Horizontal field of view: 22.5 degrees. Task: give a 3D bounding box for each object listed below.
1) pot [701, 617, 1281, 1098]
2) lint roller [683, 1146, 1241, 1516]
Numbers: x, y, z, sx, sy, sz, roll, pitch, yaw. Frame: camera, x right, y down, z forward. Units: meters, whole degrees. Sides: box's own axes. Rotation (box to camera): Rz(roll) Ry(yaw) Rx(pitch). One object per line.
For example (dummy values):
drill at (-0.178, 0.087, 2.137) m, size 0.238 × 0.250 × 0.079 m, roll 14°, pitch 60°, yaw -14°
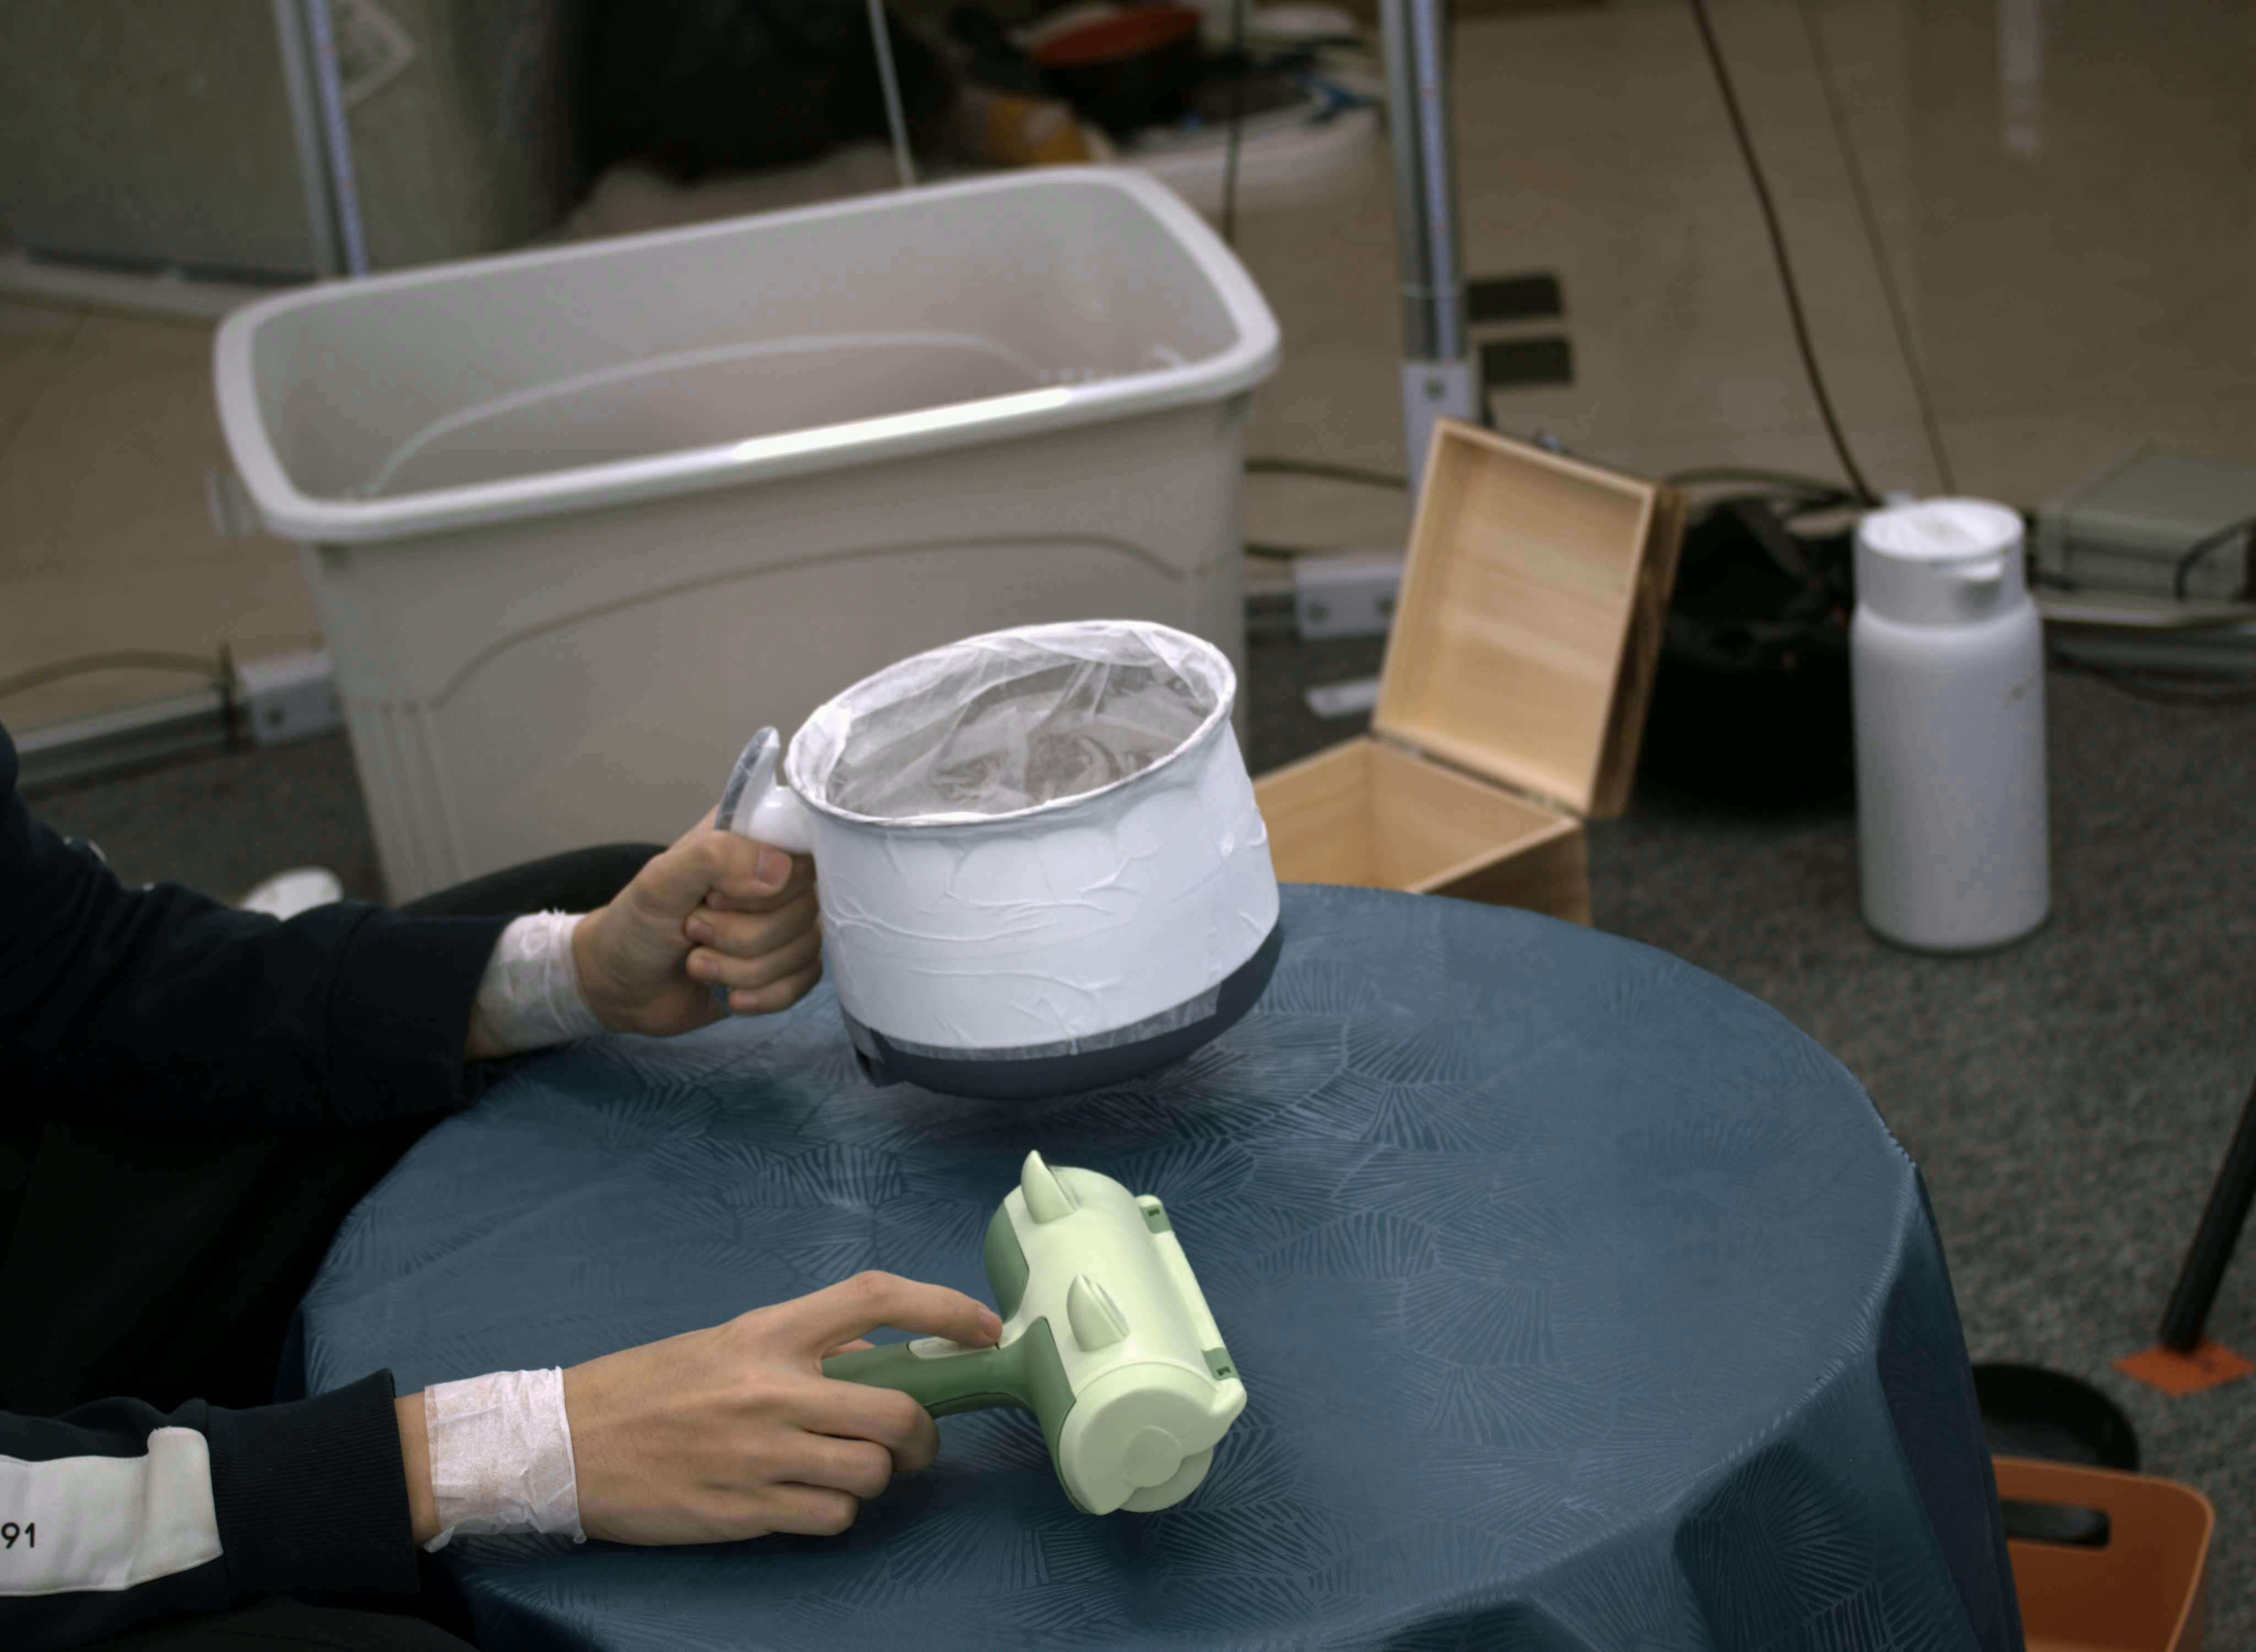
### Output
pot at (-0.060, 0.016, 2.200) m, size 0.233 × 0.139 × 0.176 m, roll -4°, pitch 26°, yaw 16°
lint roller at (-0.065, 0.175, 1.957) m, size 0.183 × 0.083 × 0.196 m, roll -7°, pitch 20°, yaw -7°
